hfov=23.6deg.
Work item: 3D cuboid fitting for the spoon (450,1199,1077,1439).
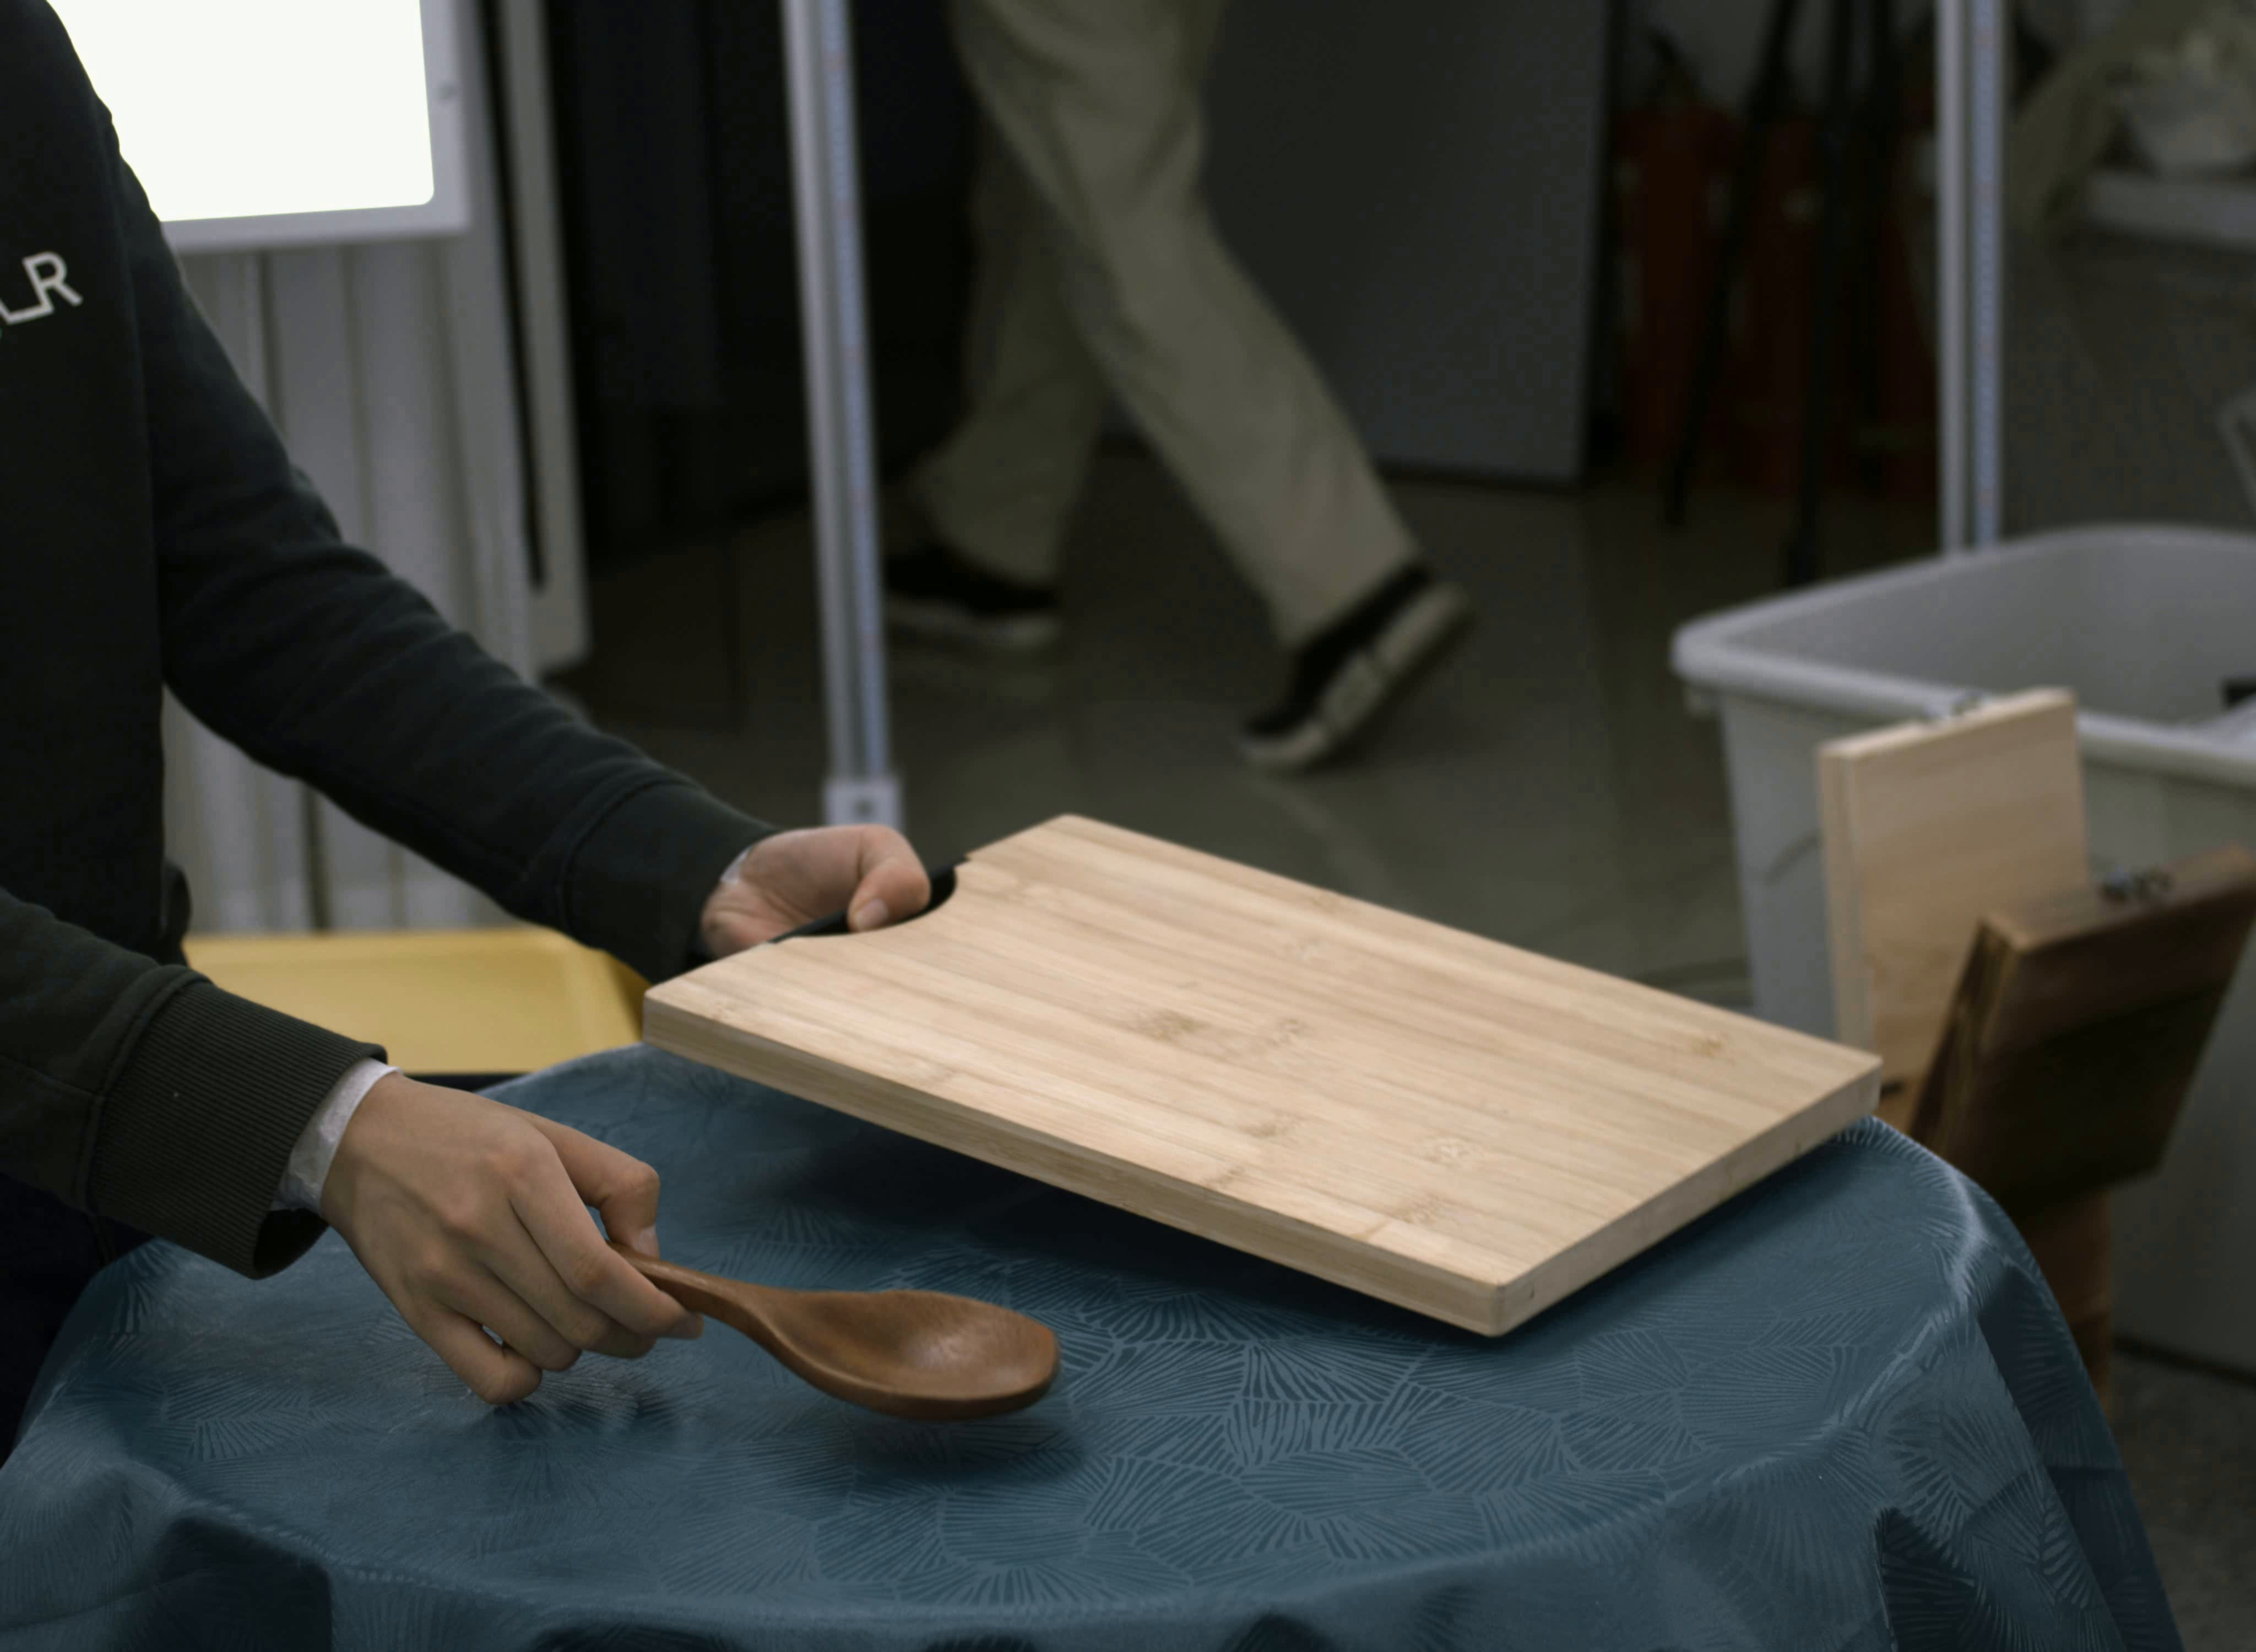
[{"bbox_3d":[-0.111,0.144,1.590,0.217,0.017,0.074,15,24,29],"label":"spoon"}]

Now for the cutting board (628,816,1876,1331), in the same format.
[{"bbox_3d":[0.040,0.074,1.777,0.351,0.024,0.246,16,23,33],"label":"cutting board"}]
